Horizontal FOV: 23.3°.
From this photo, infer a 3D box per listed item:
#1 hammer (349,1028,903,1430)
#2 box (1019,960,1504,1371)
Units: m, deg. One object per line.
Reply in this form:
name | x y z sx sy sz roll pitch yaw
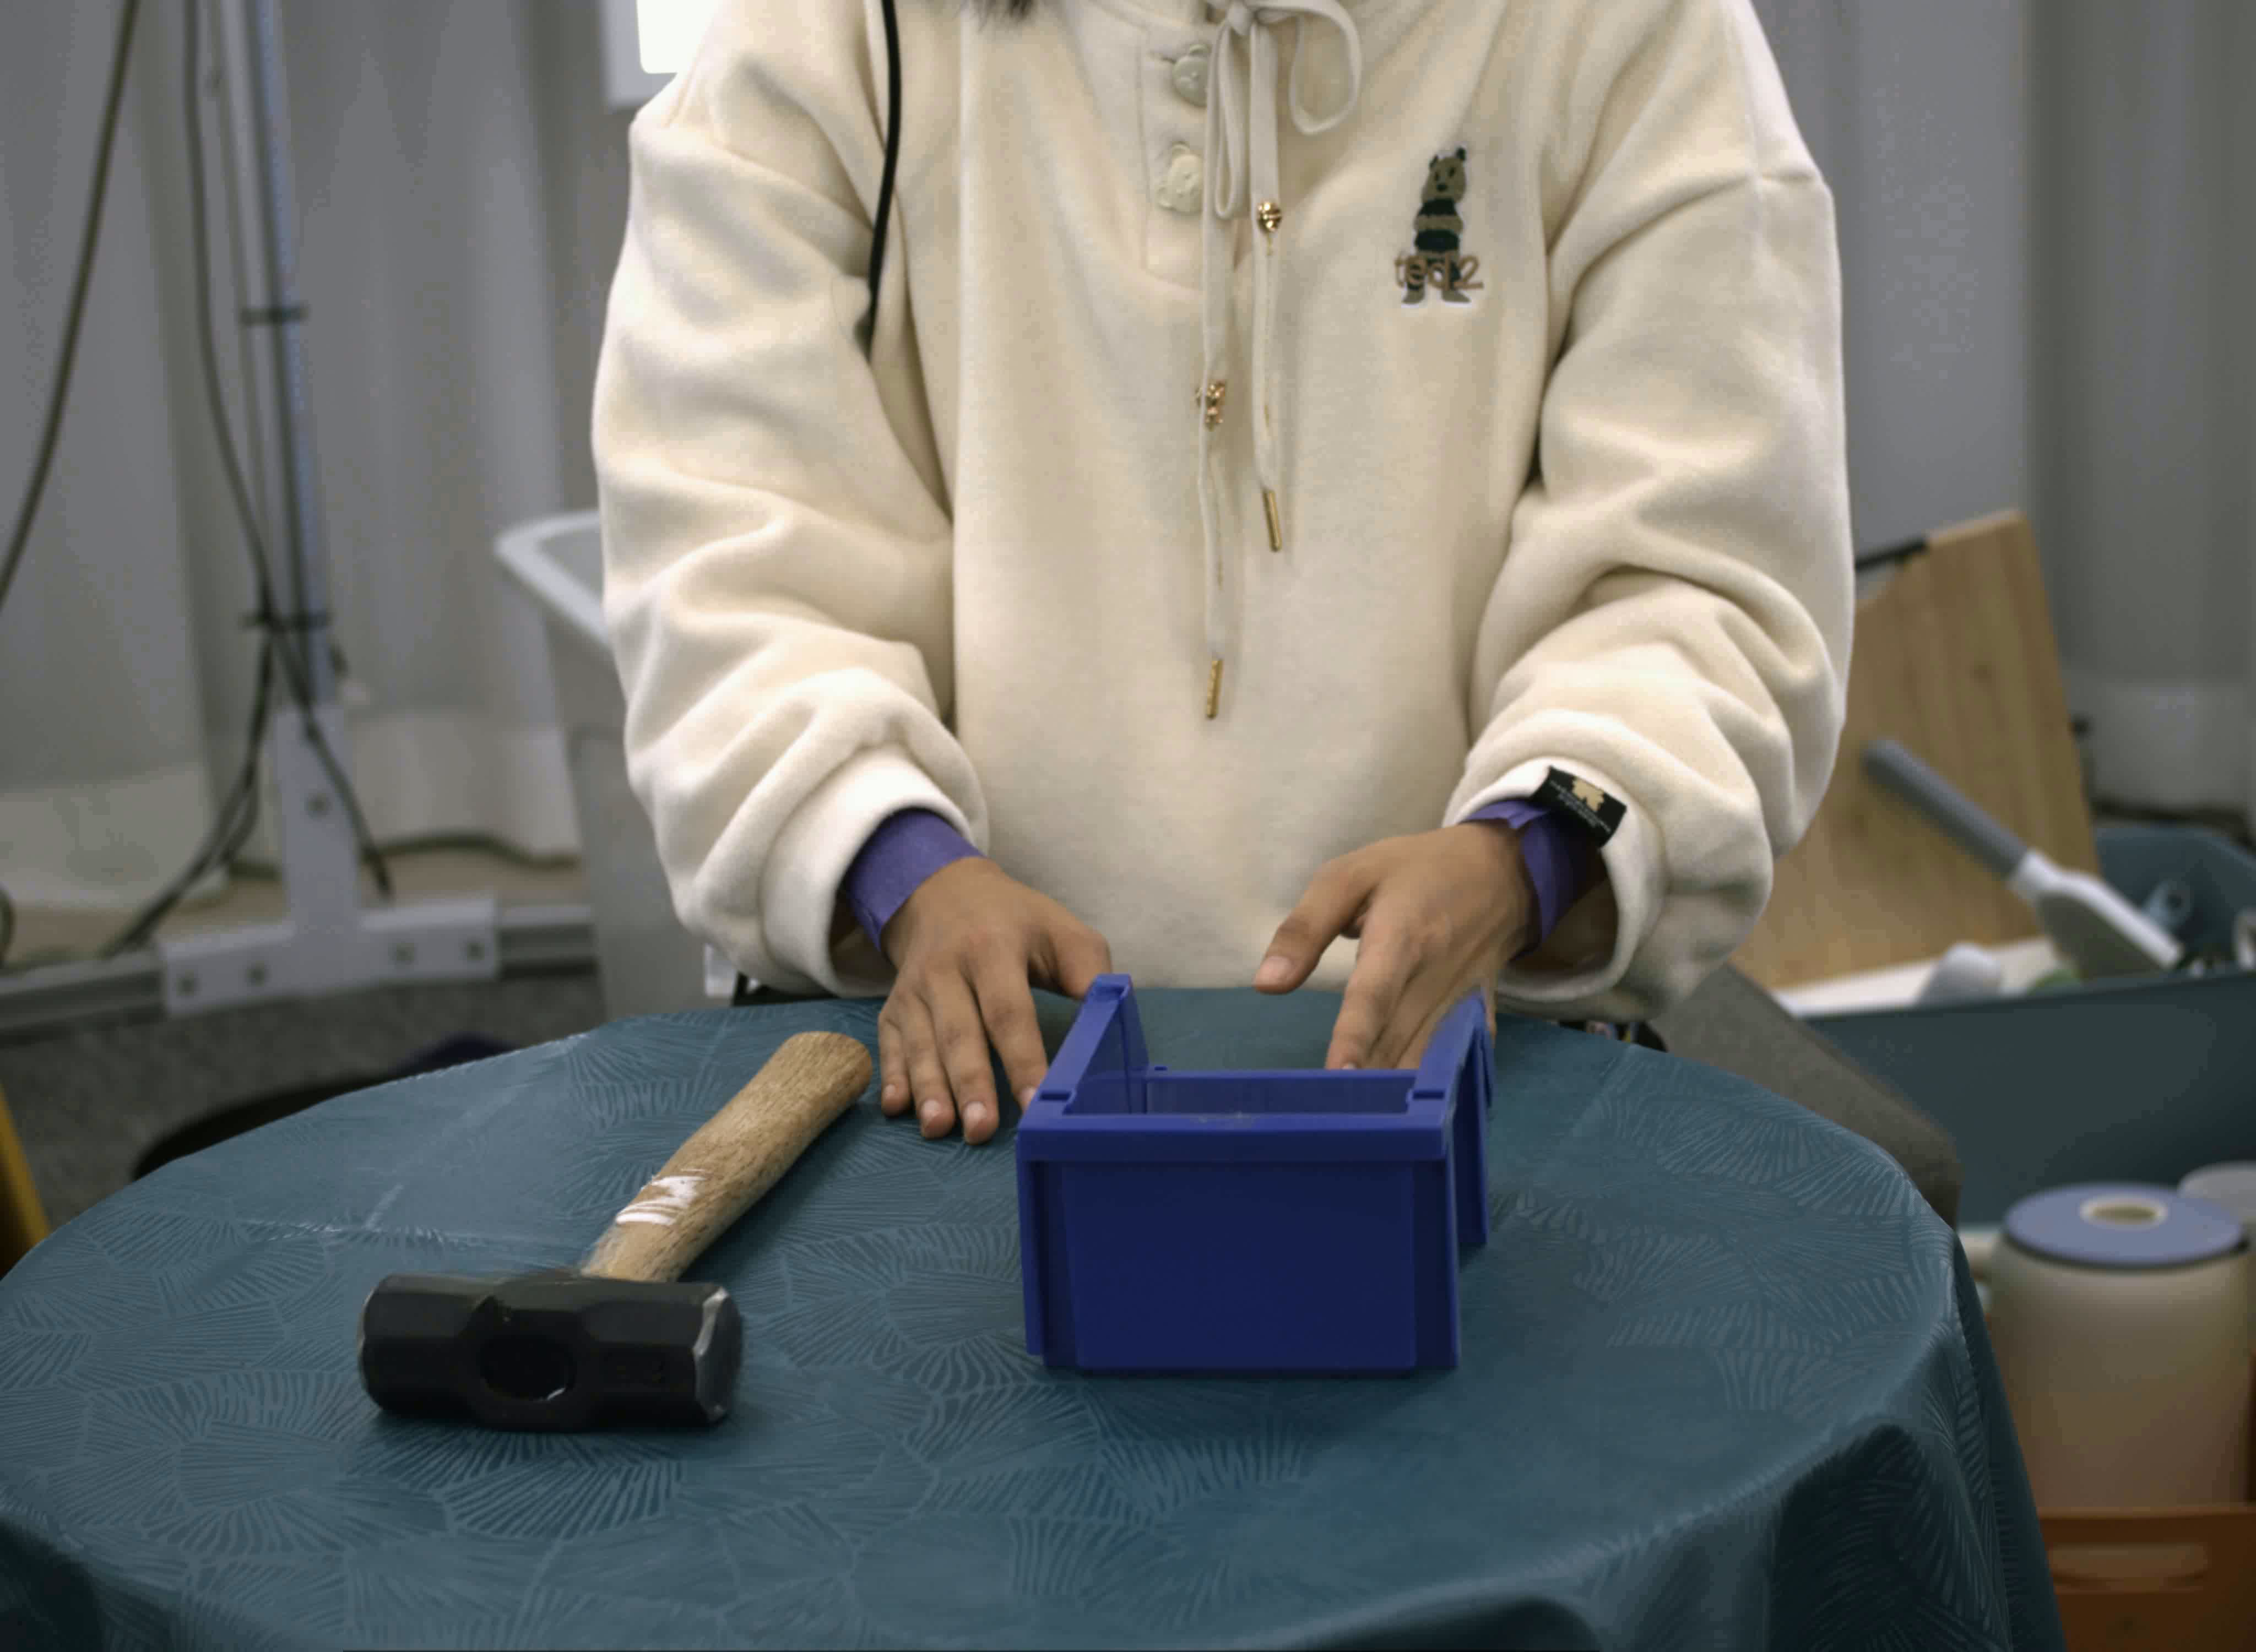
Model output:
hammer | -0.130 0.116 1.672 0.107 0.038 0.306 1 14 15
box | 0.042 0.096 1.622 0.124 0.081 0.180 -1 17 9
